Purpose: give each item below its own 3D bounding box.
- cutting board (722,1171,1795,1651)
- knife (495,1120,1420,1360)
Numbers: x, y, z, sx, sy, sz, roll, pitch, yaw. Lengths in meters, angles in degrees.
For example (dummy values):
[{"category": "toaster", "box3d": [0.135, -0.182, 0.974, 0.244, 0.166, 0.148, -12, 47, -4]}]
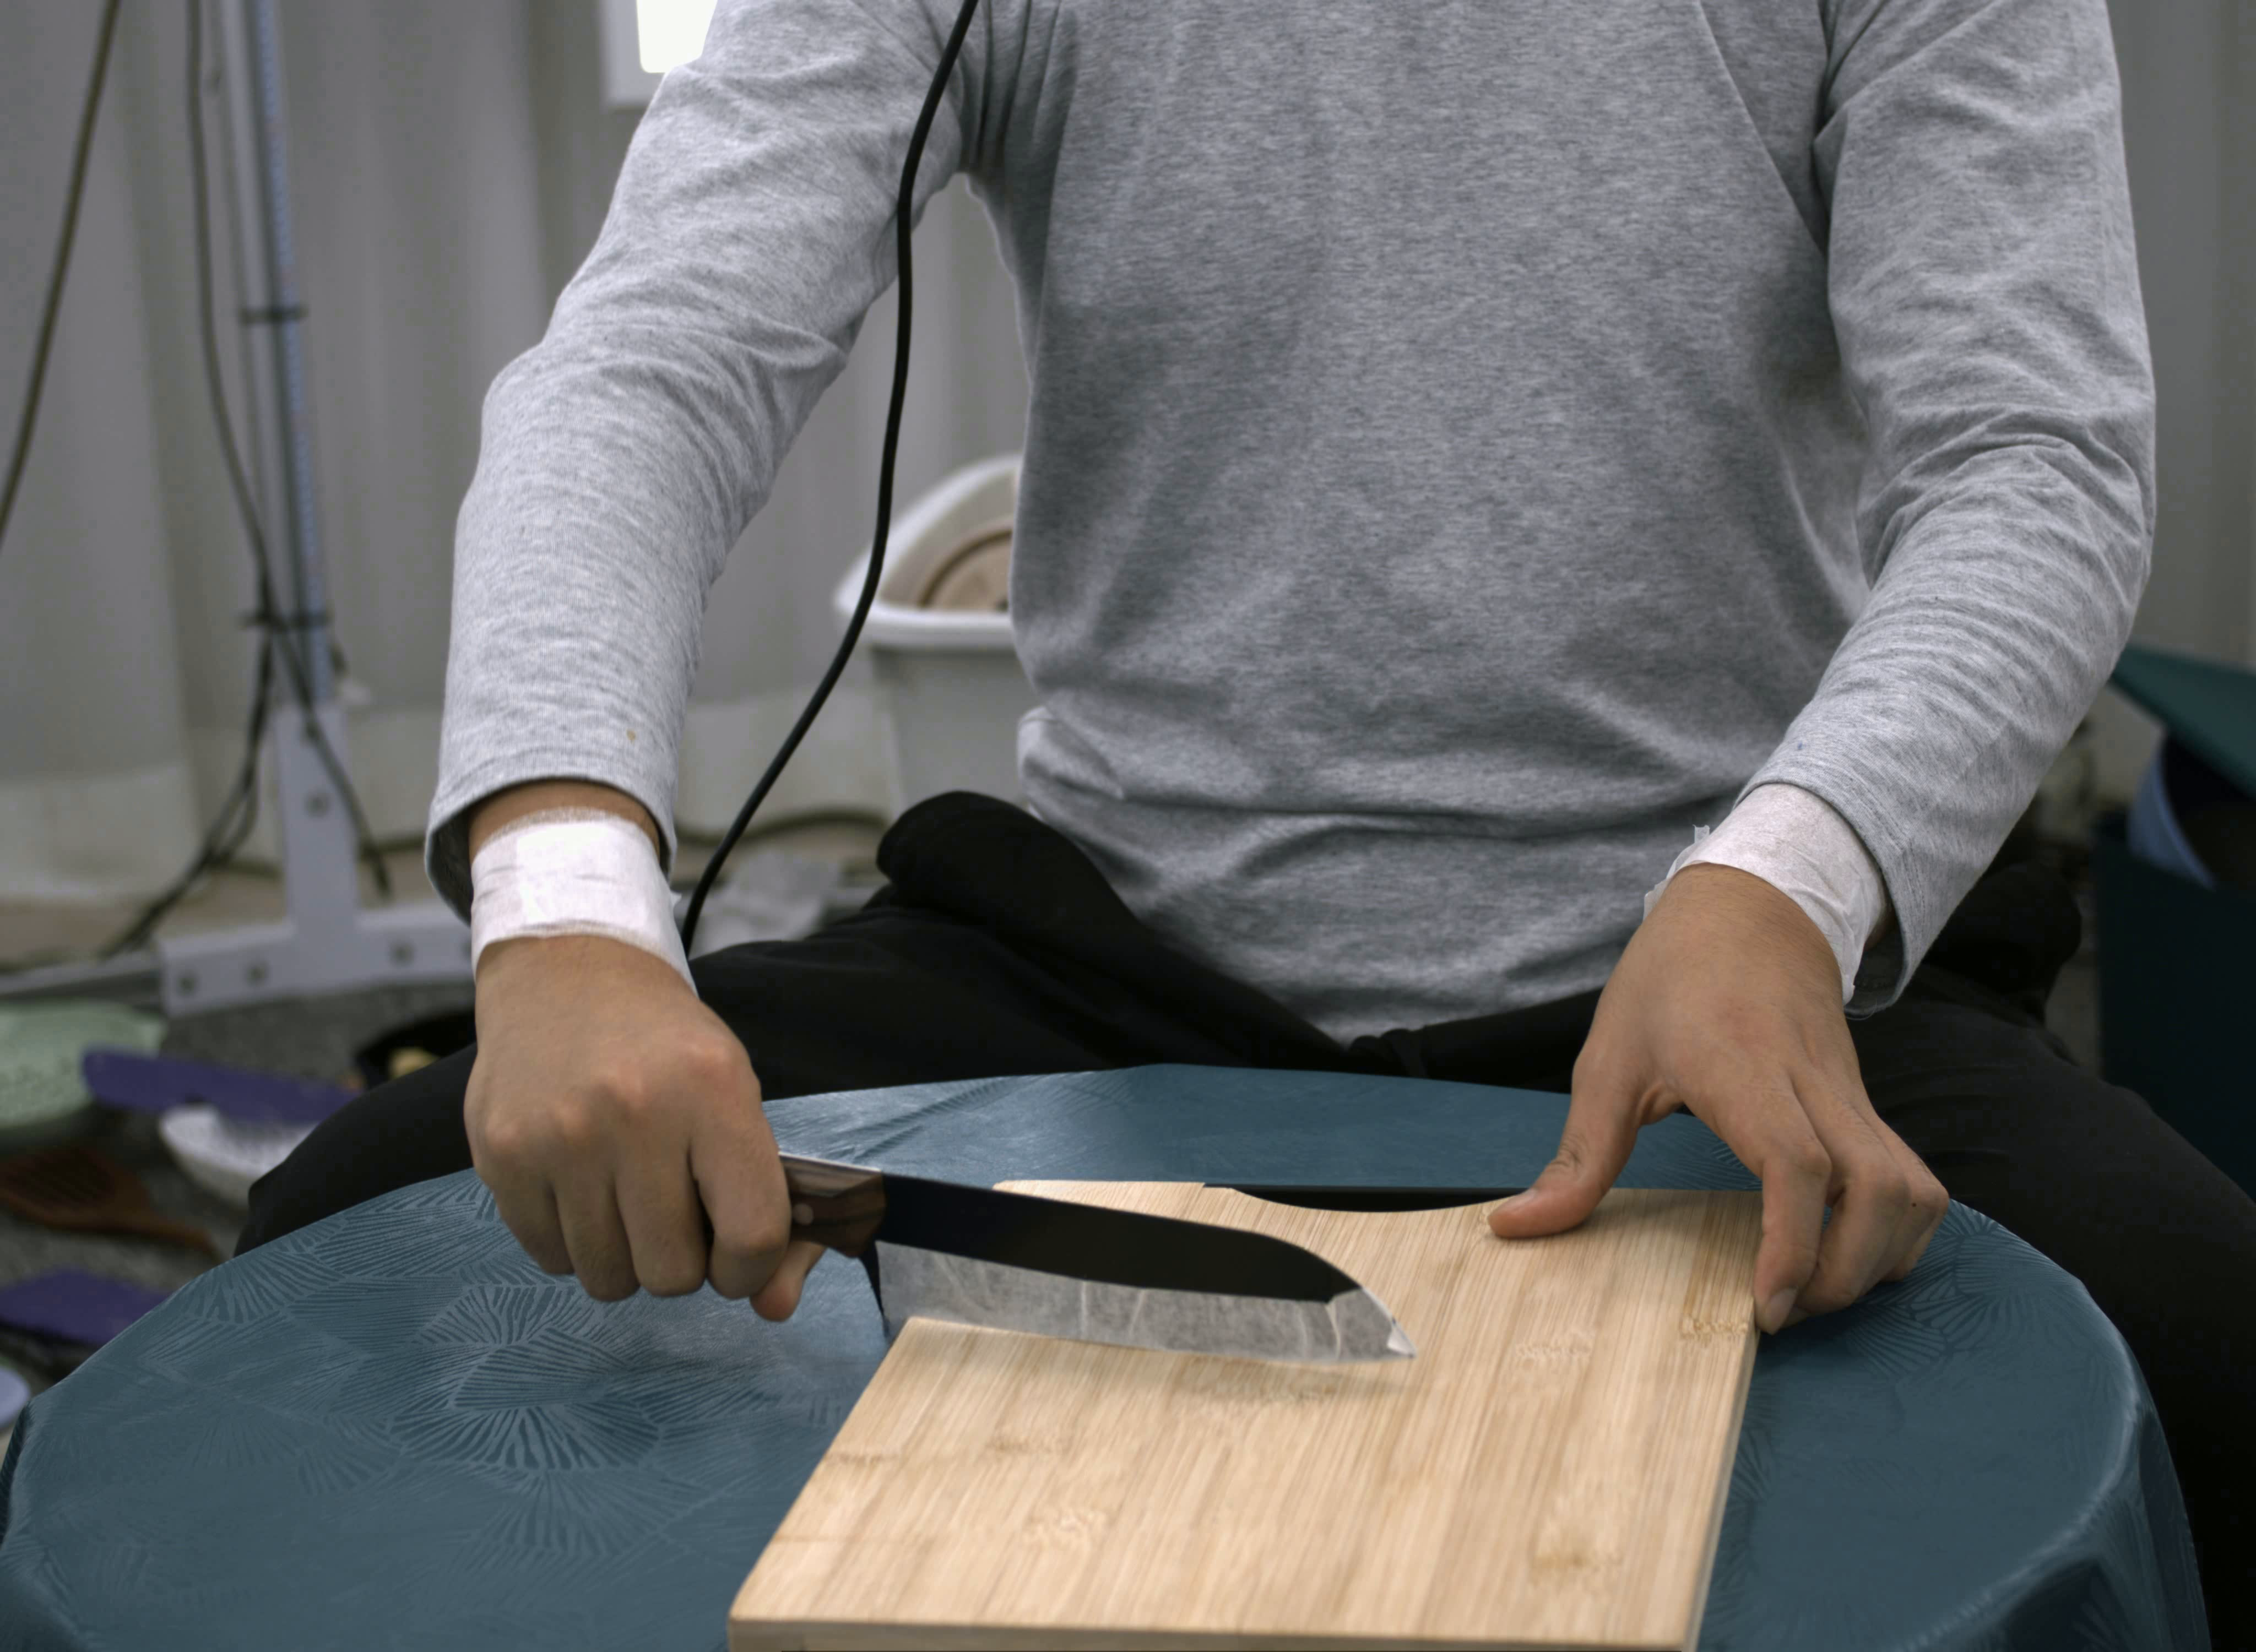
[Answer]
[{"category": "cutting board", "box3d": [0.049, 0.161, 1.503, 0.250, 0.023, 0.350, 1, 15, 10]}, {"category": "knife", "box3d": [-0.052, 0.118, 1.546, 0.290, 0.050, 0.020, 9, 28, 23]}]
